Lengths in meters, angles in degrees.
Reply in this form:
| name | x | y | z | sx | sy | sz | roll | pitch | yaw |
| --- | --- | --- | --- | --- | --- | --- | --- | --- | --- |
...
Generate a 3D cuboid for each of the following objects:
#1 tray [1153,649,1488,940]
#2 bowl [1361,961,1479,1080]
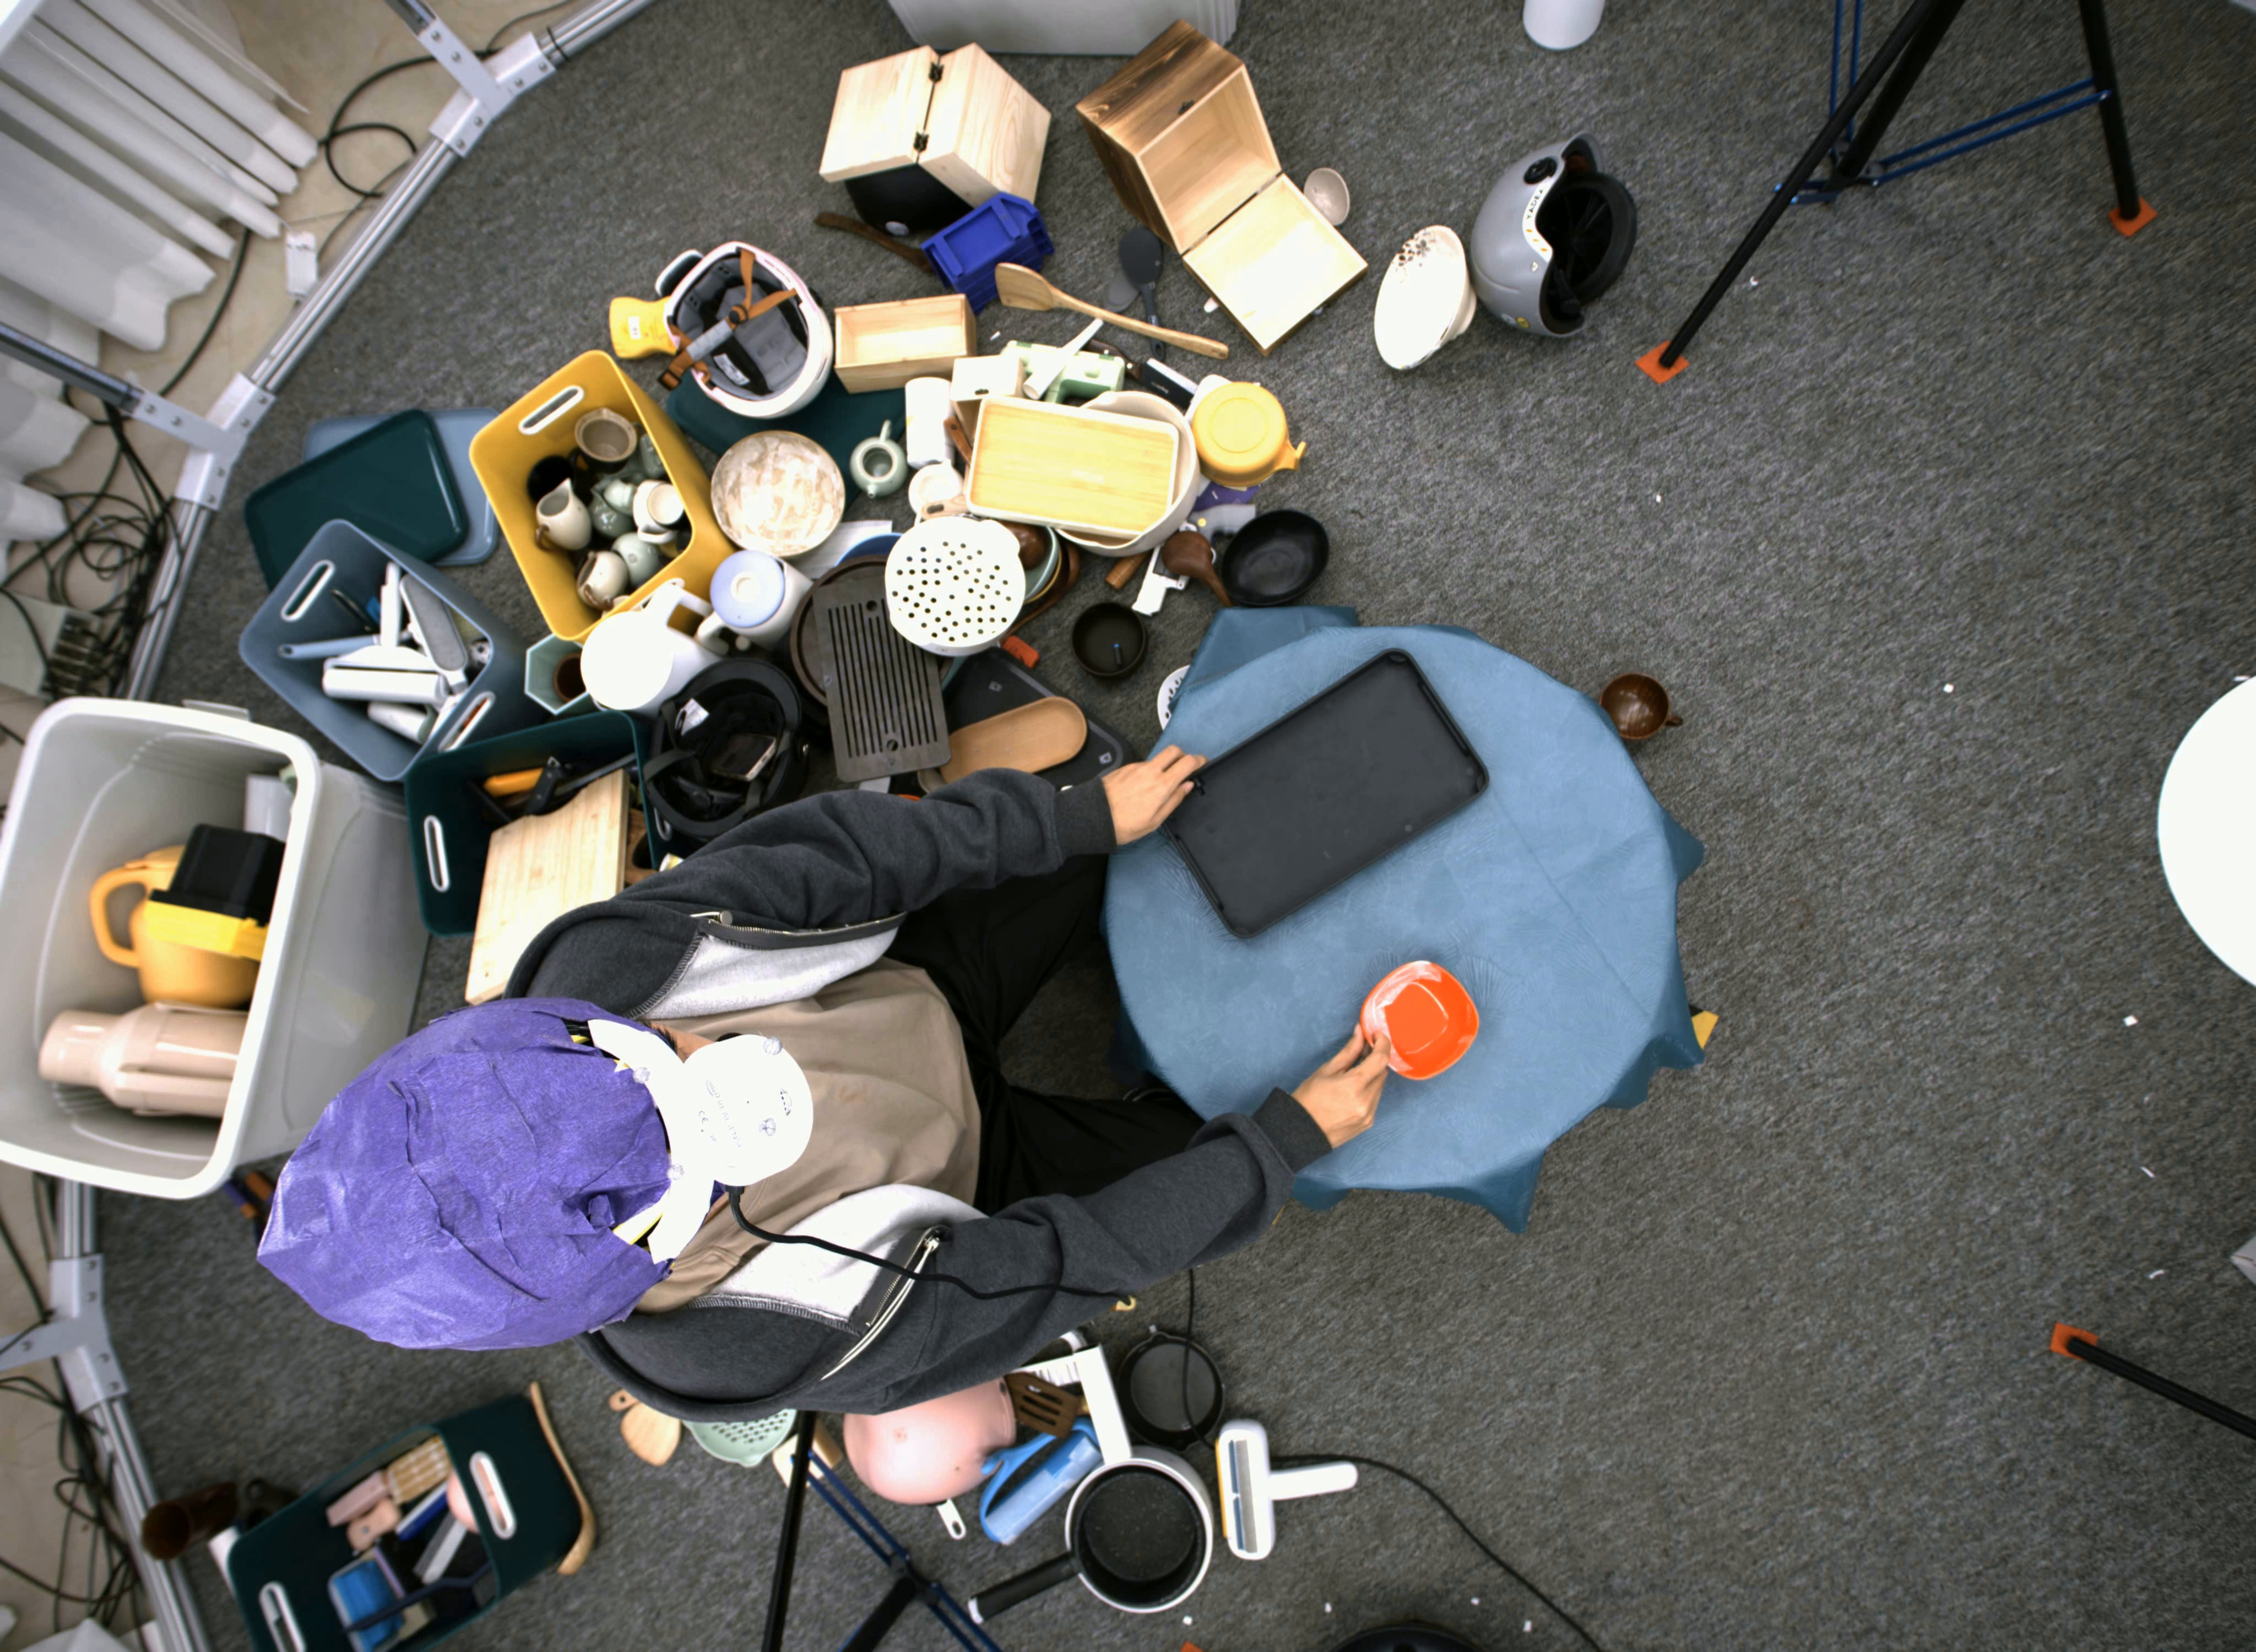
| name | x | y | z | sx | sy | sz | roll | pitch | yaw |
| --- | --- | --- | --- | --- | --- | --- | --- | --- | --- |
| tray | 0.201 | -0.033 | 1.457 | 0.319 | 0.037 | 0.183 | -33 | 82 | 6 |
| bowl | 0.293 | 0.195 | 1.407 | 0.119 | 0.051 | 0.118 | 0 | 88 | 0 |
